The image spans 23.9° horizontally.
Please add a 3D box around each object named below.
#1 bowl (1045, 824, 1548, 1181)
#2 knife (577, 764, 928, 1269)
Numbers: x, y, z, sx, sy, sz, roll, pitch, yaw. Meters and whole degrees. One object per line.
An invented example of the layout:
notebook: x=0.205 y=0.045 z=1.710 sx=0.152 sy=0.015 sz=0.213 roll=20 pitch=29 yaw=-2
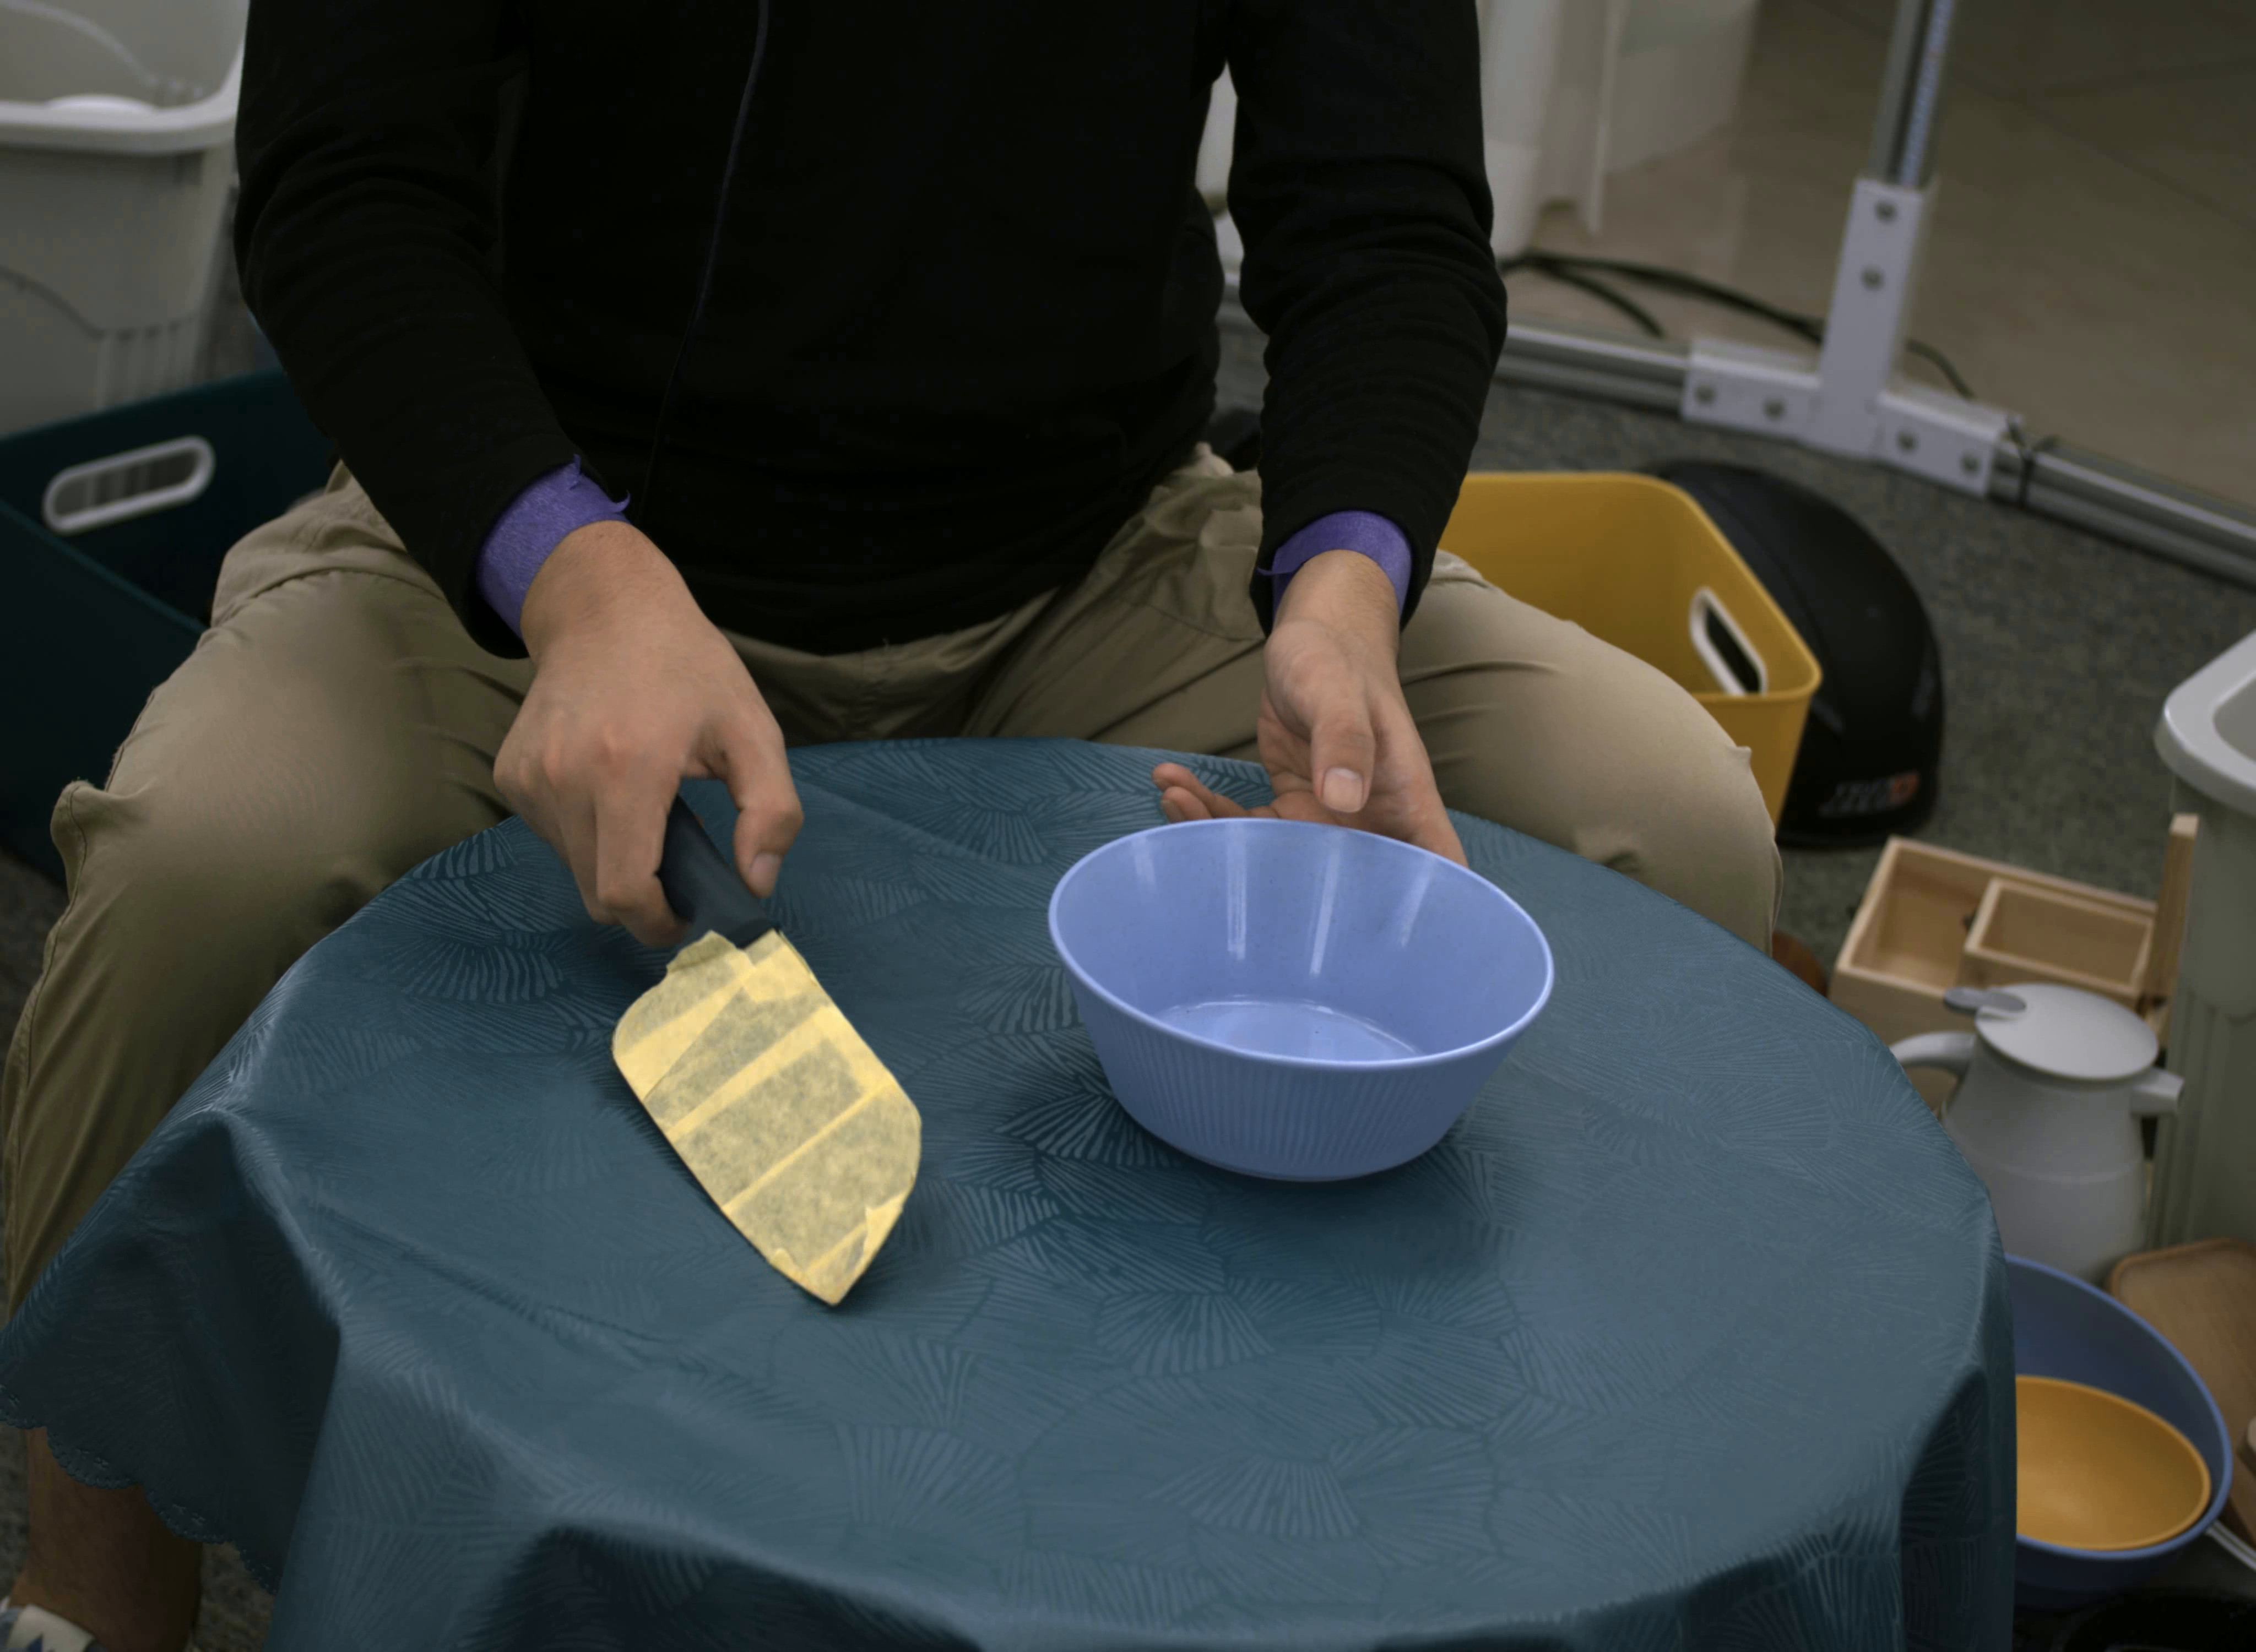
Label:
bowl: x=0.055 y=0.067 z=1.853 sx=0.175 sy=0.070 sz=0.177 roll=5 pitch=27 yaw=-3
knife: x=-0.141 y=0.064 z=1.827 sx=0.081 sy=0.027 sz=0.292 roll=-32 pitch=41 yaw=-4
